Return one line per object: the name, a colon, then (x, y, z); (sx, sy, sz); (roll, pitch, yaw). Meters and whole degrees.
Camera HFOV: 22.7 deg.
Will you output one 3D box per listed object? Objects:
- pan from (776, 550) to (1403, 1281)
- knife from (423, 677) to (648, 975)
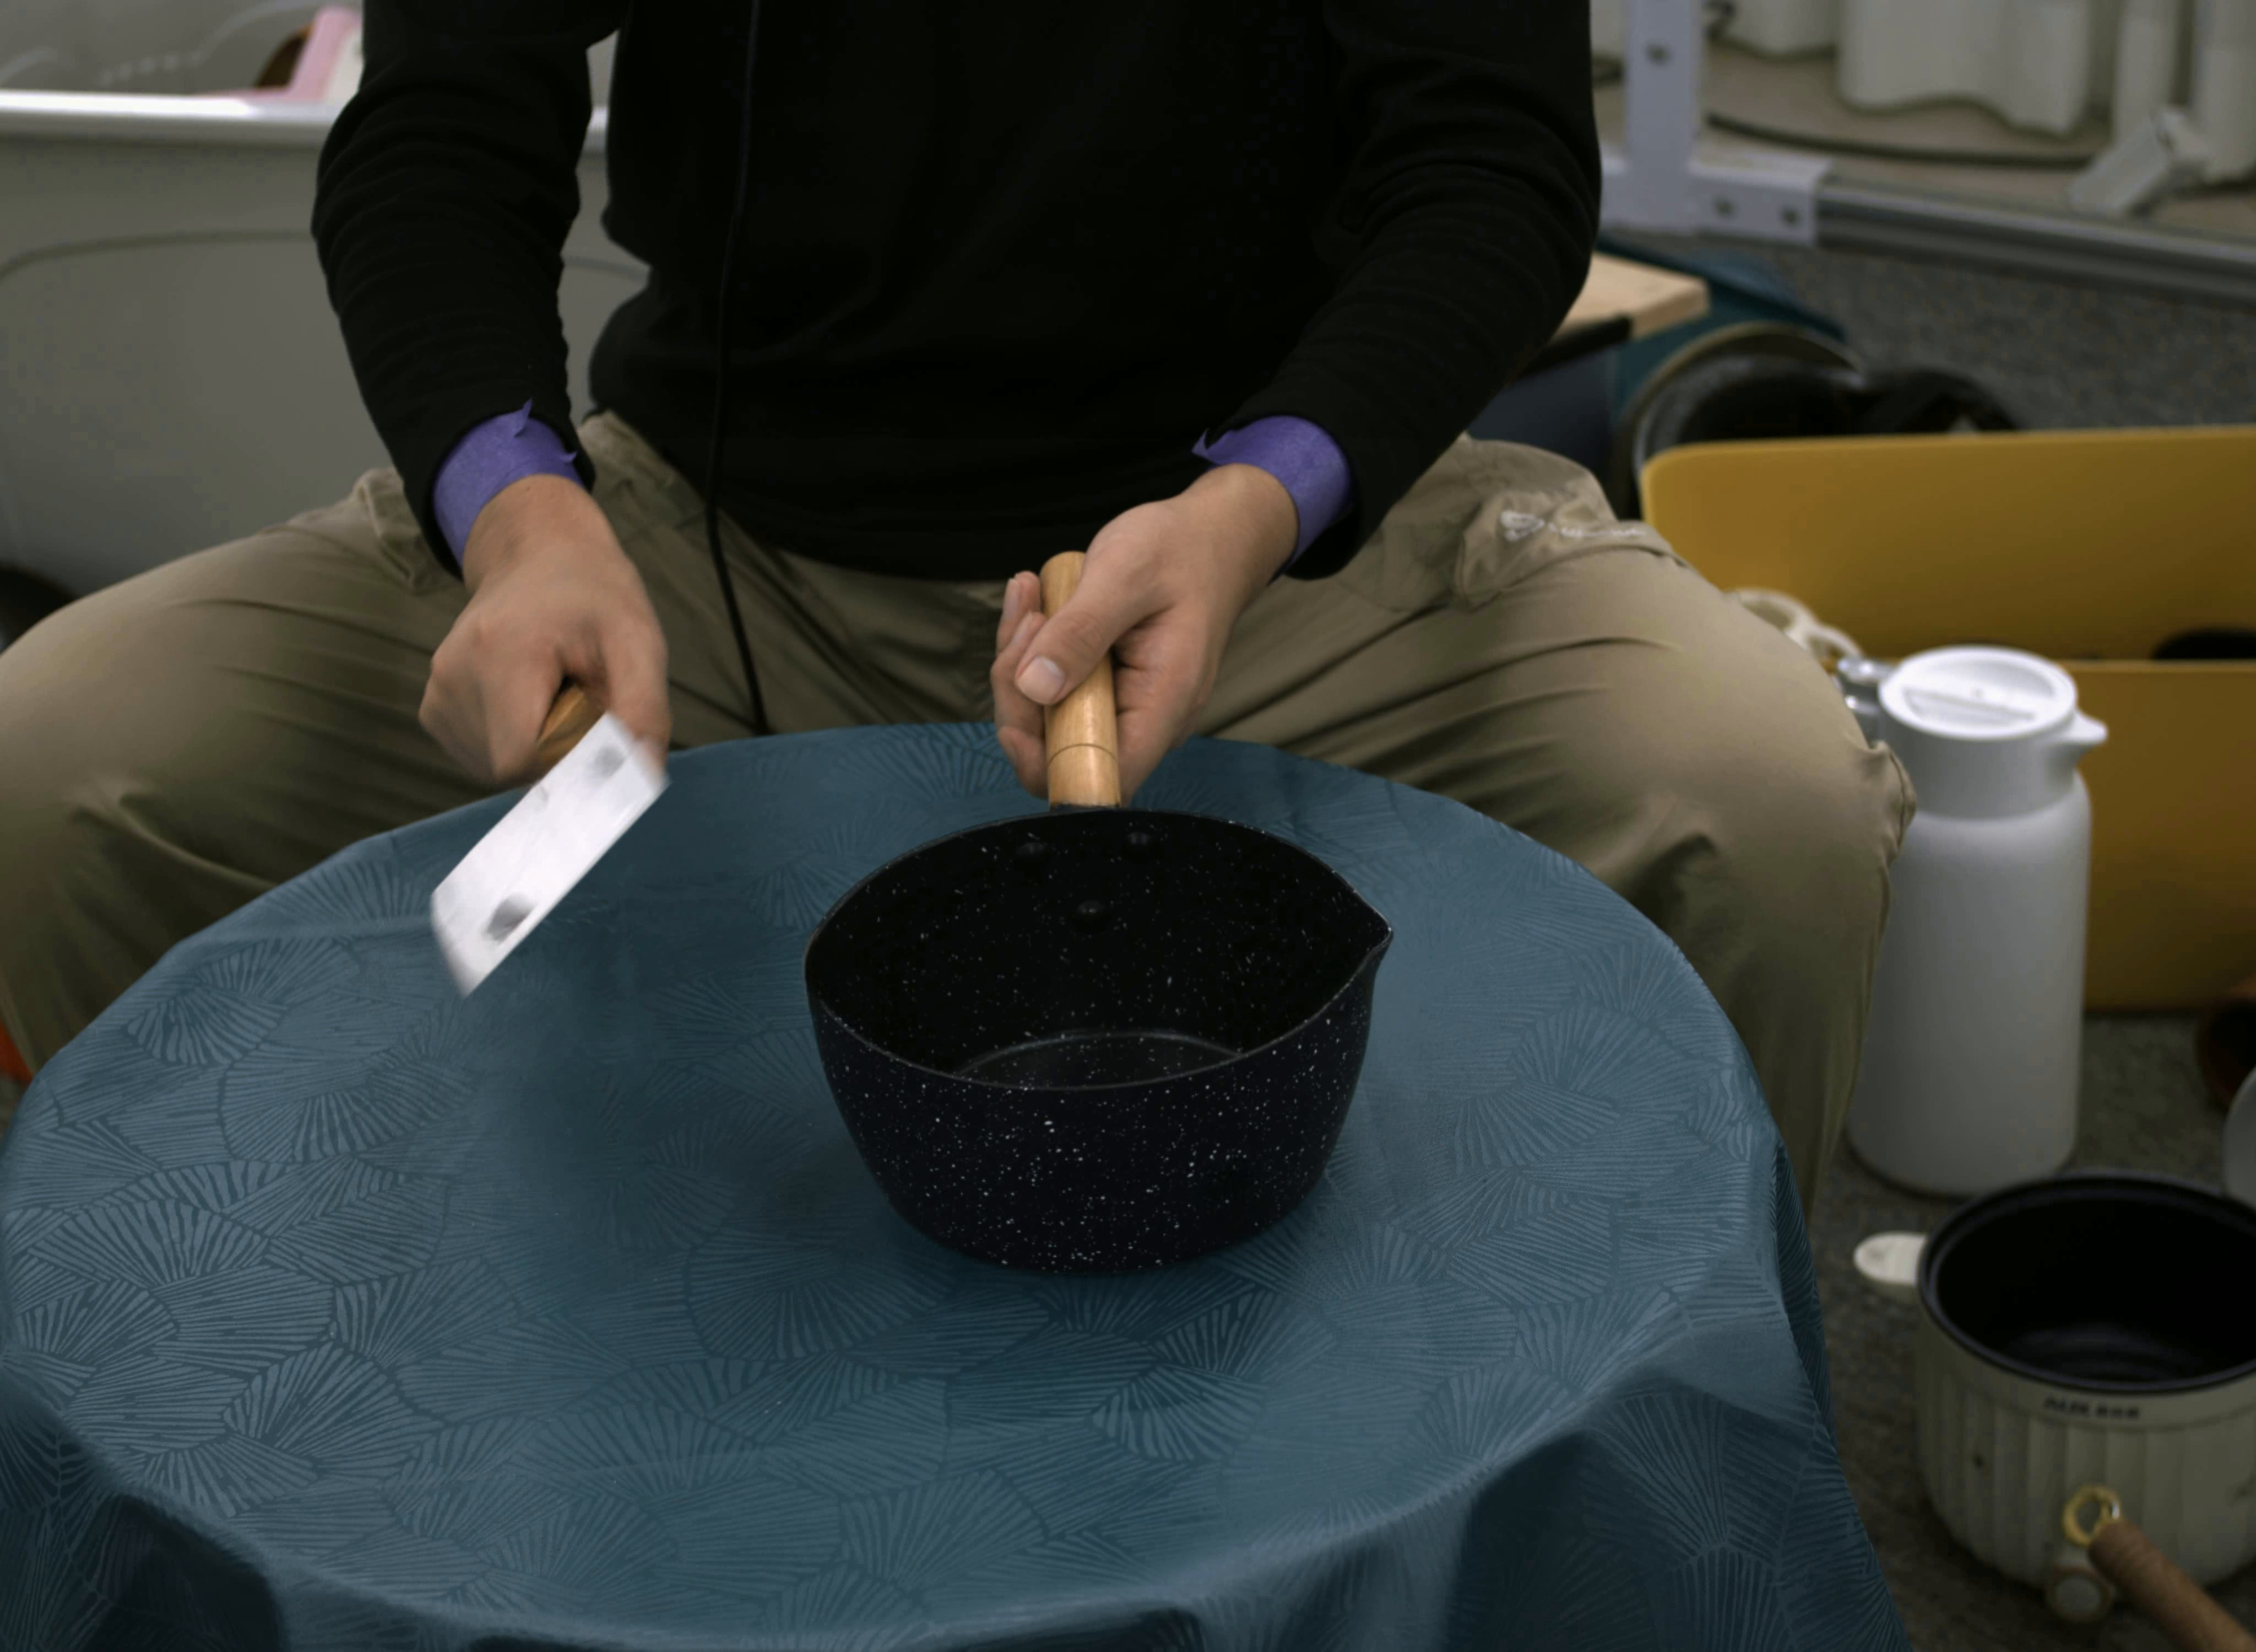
pan: (-0.015, 0.027, 1.926); (0.206, 0.107, 0.348); (-4, 29, -1)
knife: (-0.205, 0.001, 1.903); (0.093, 0.021, 0.306); (-46, 13, 0)
